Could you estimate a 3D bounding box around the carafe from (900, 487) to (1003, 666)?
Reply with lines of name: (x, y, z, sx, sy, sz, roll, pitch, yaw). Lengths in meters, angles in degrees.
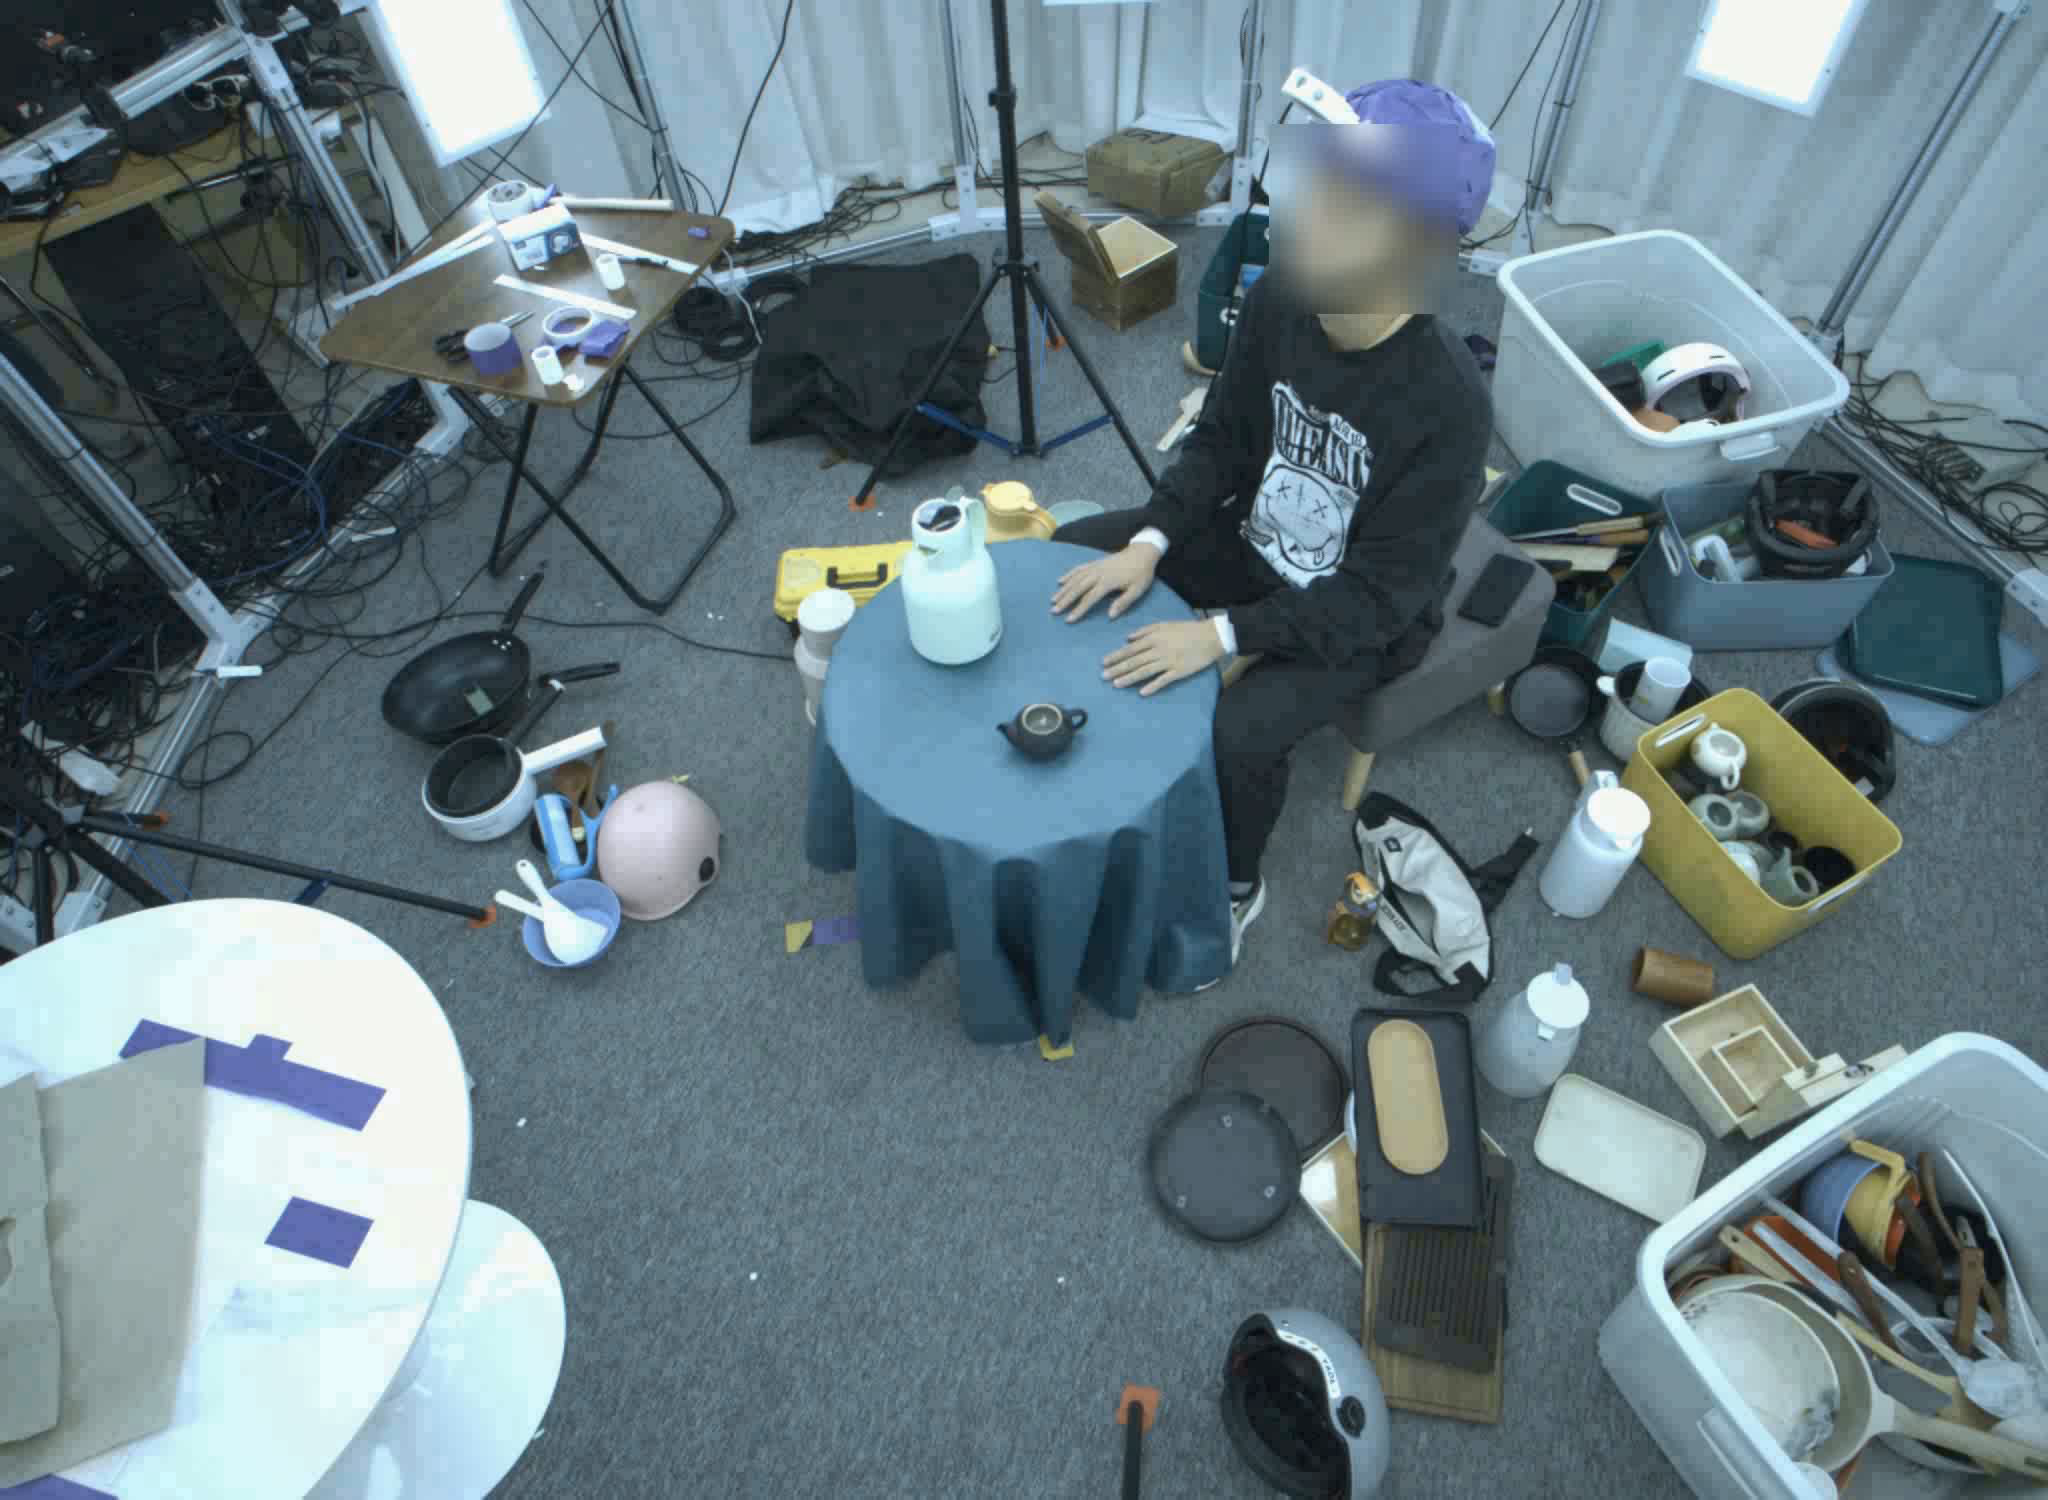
carafe: (-0.108, -0.264, 1.821, 0.142, 0.259, 0.187, 16, 53, 16)

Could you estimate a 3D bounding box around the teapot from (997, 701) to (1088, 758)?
teapot: (0.027, -0.030, 1.771, 0.134, 0.053, 0.089, -12, 56, -6)
